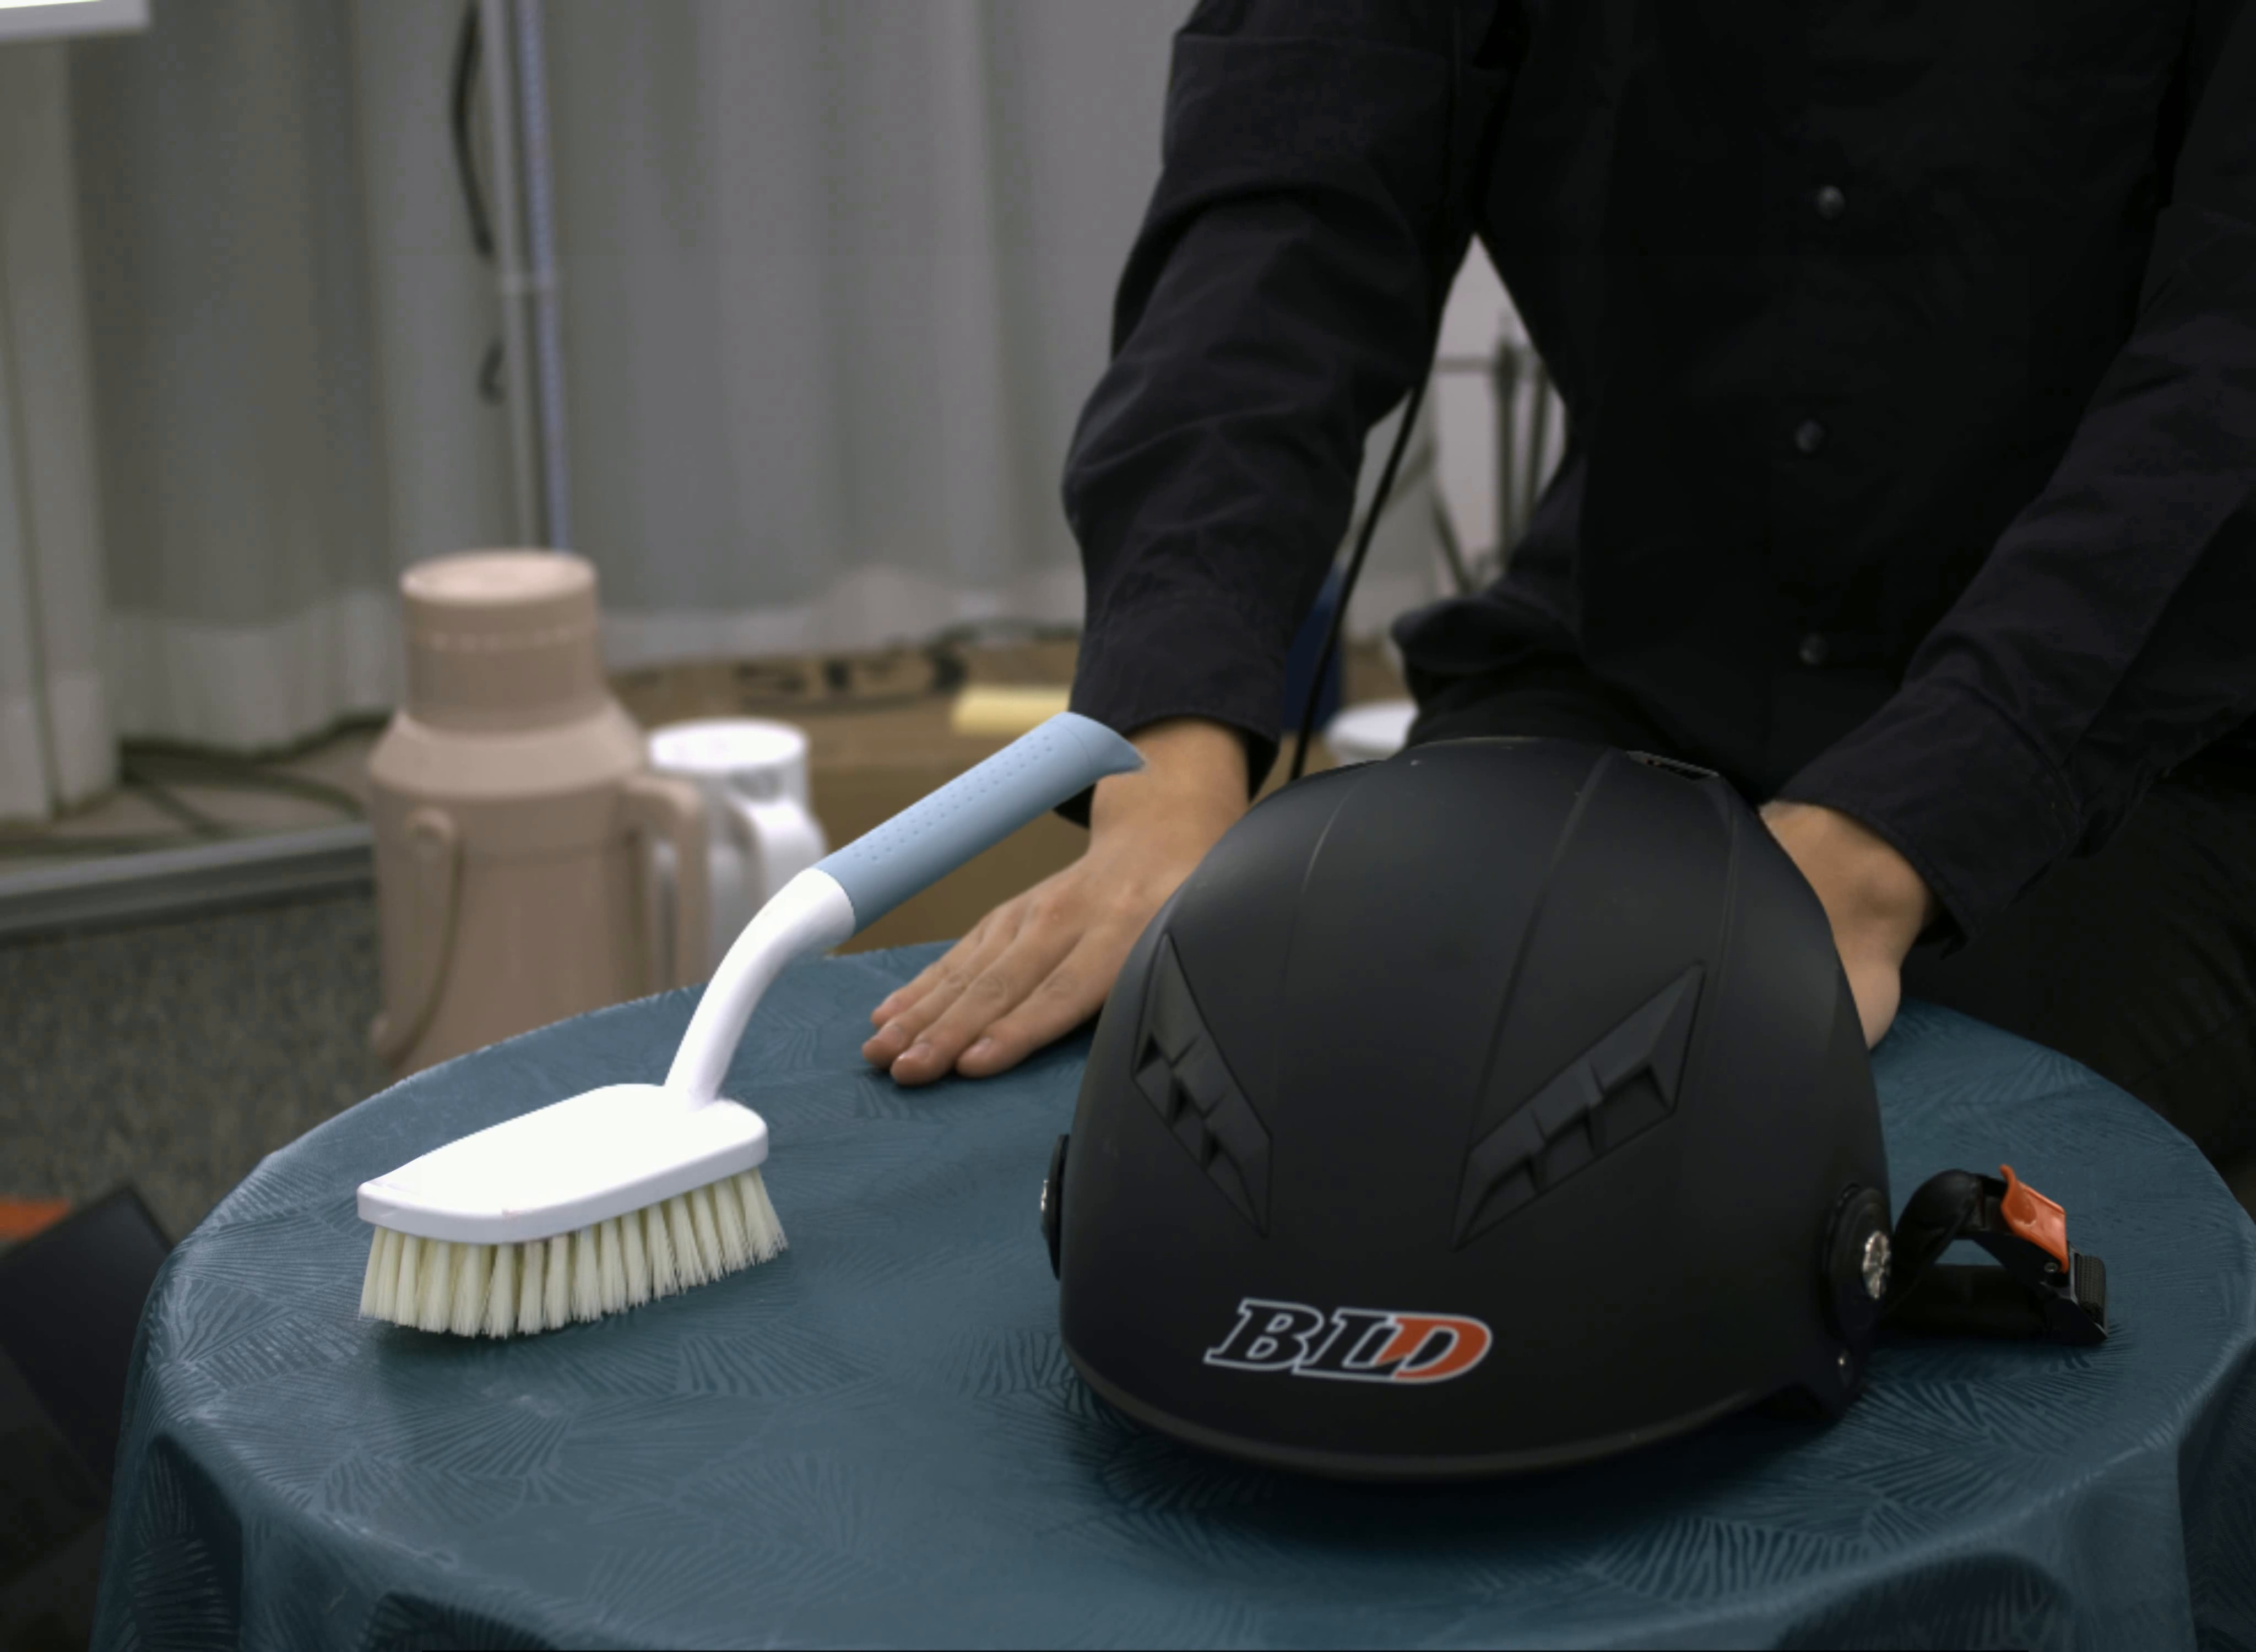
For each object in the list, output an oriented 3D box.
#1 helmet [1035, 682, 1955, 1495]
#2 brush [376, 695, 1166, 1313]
[{"bbox_3d":[0.096,0.060,1.414,0.249,0.172,0.274,2,19,20],"label":"helmet"},{"bbox_3d":[-0.091,0.067,1.572,0.084,0.085,0.320,44,50,17],"label":"brush"}]
